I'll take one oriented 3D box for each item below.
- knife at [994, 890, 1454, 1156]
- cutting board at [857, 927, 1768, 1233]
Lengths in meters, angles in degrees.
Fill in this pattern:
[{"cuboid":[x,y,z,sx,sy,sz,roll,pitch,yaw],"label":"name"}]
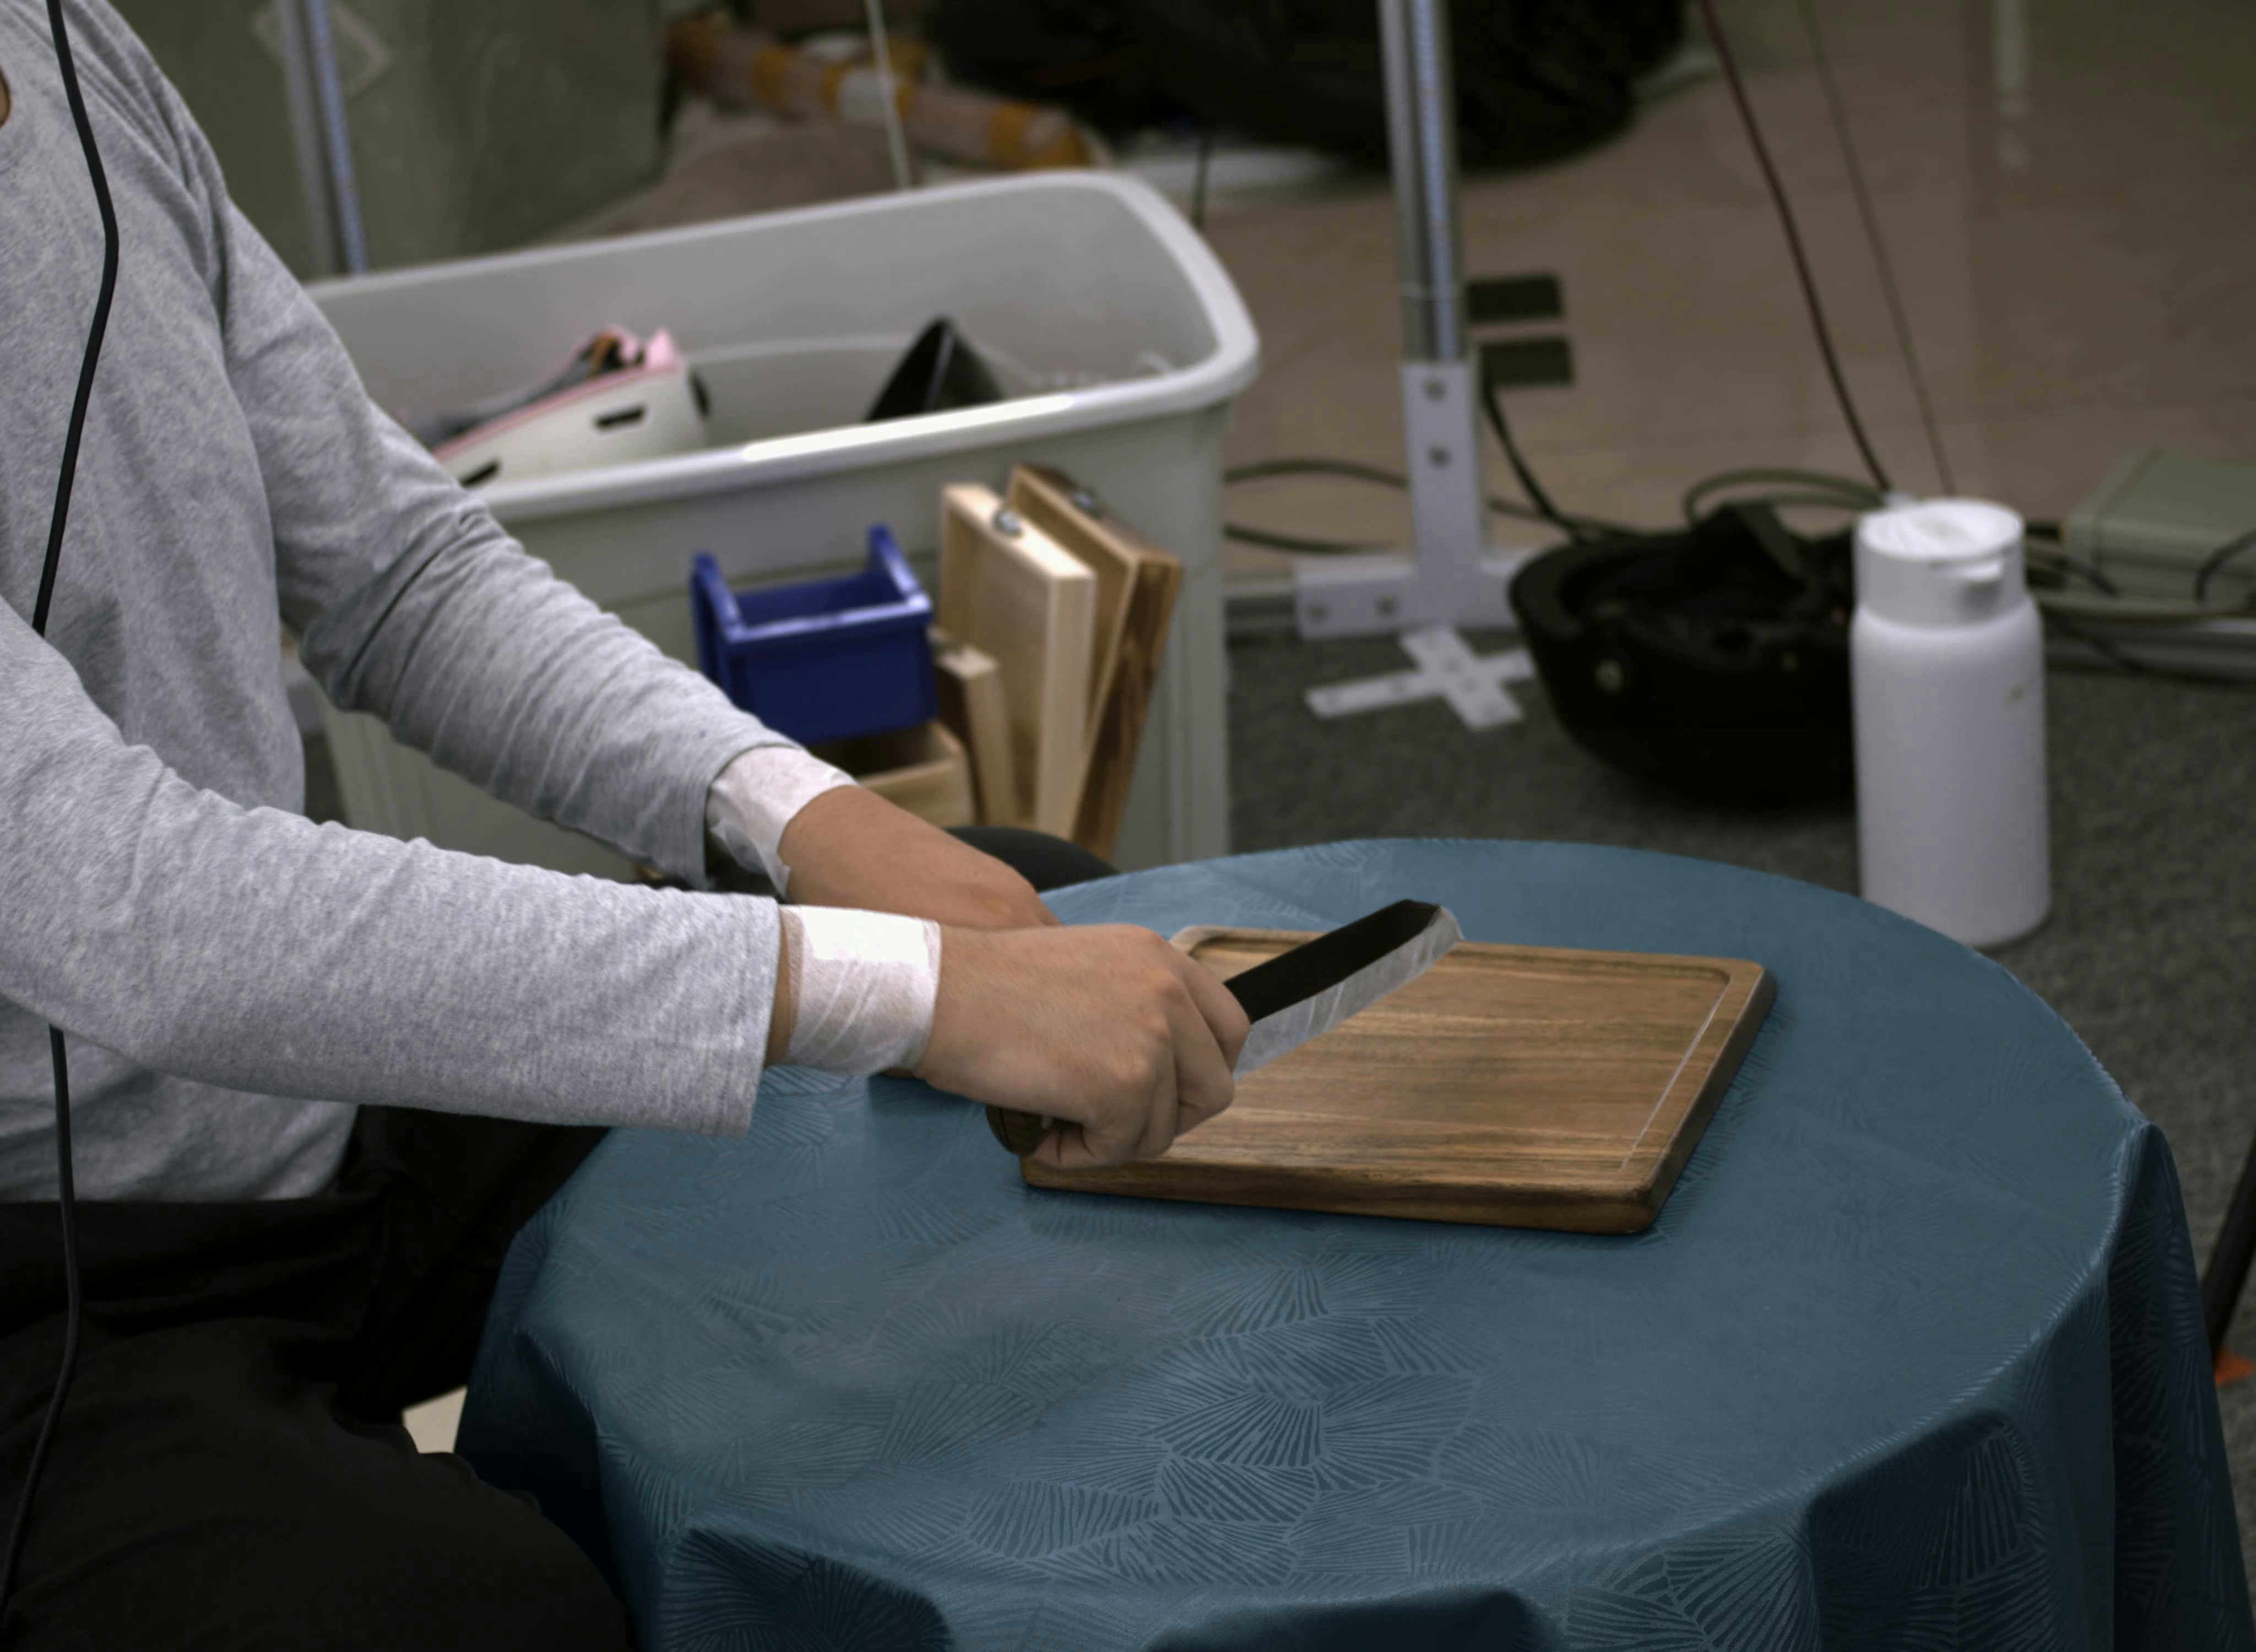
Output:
[{"cuboid":[0.042,0.071,2.092,0.020,0.051,0.287,26,28,29],"label":"knife"},{"cuboid":[0.059,0.092,2.214,0.351,0.023,0.198,3,26,20],"label":"cutting board"}]
